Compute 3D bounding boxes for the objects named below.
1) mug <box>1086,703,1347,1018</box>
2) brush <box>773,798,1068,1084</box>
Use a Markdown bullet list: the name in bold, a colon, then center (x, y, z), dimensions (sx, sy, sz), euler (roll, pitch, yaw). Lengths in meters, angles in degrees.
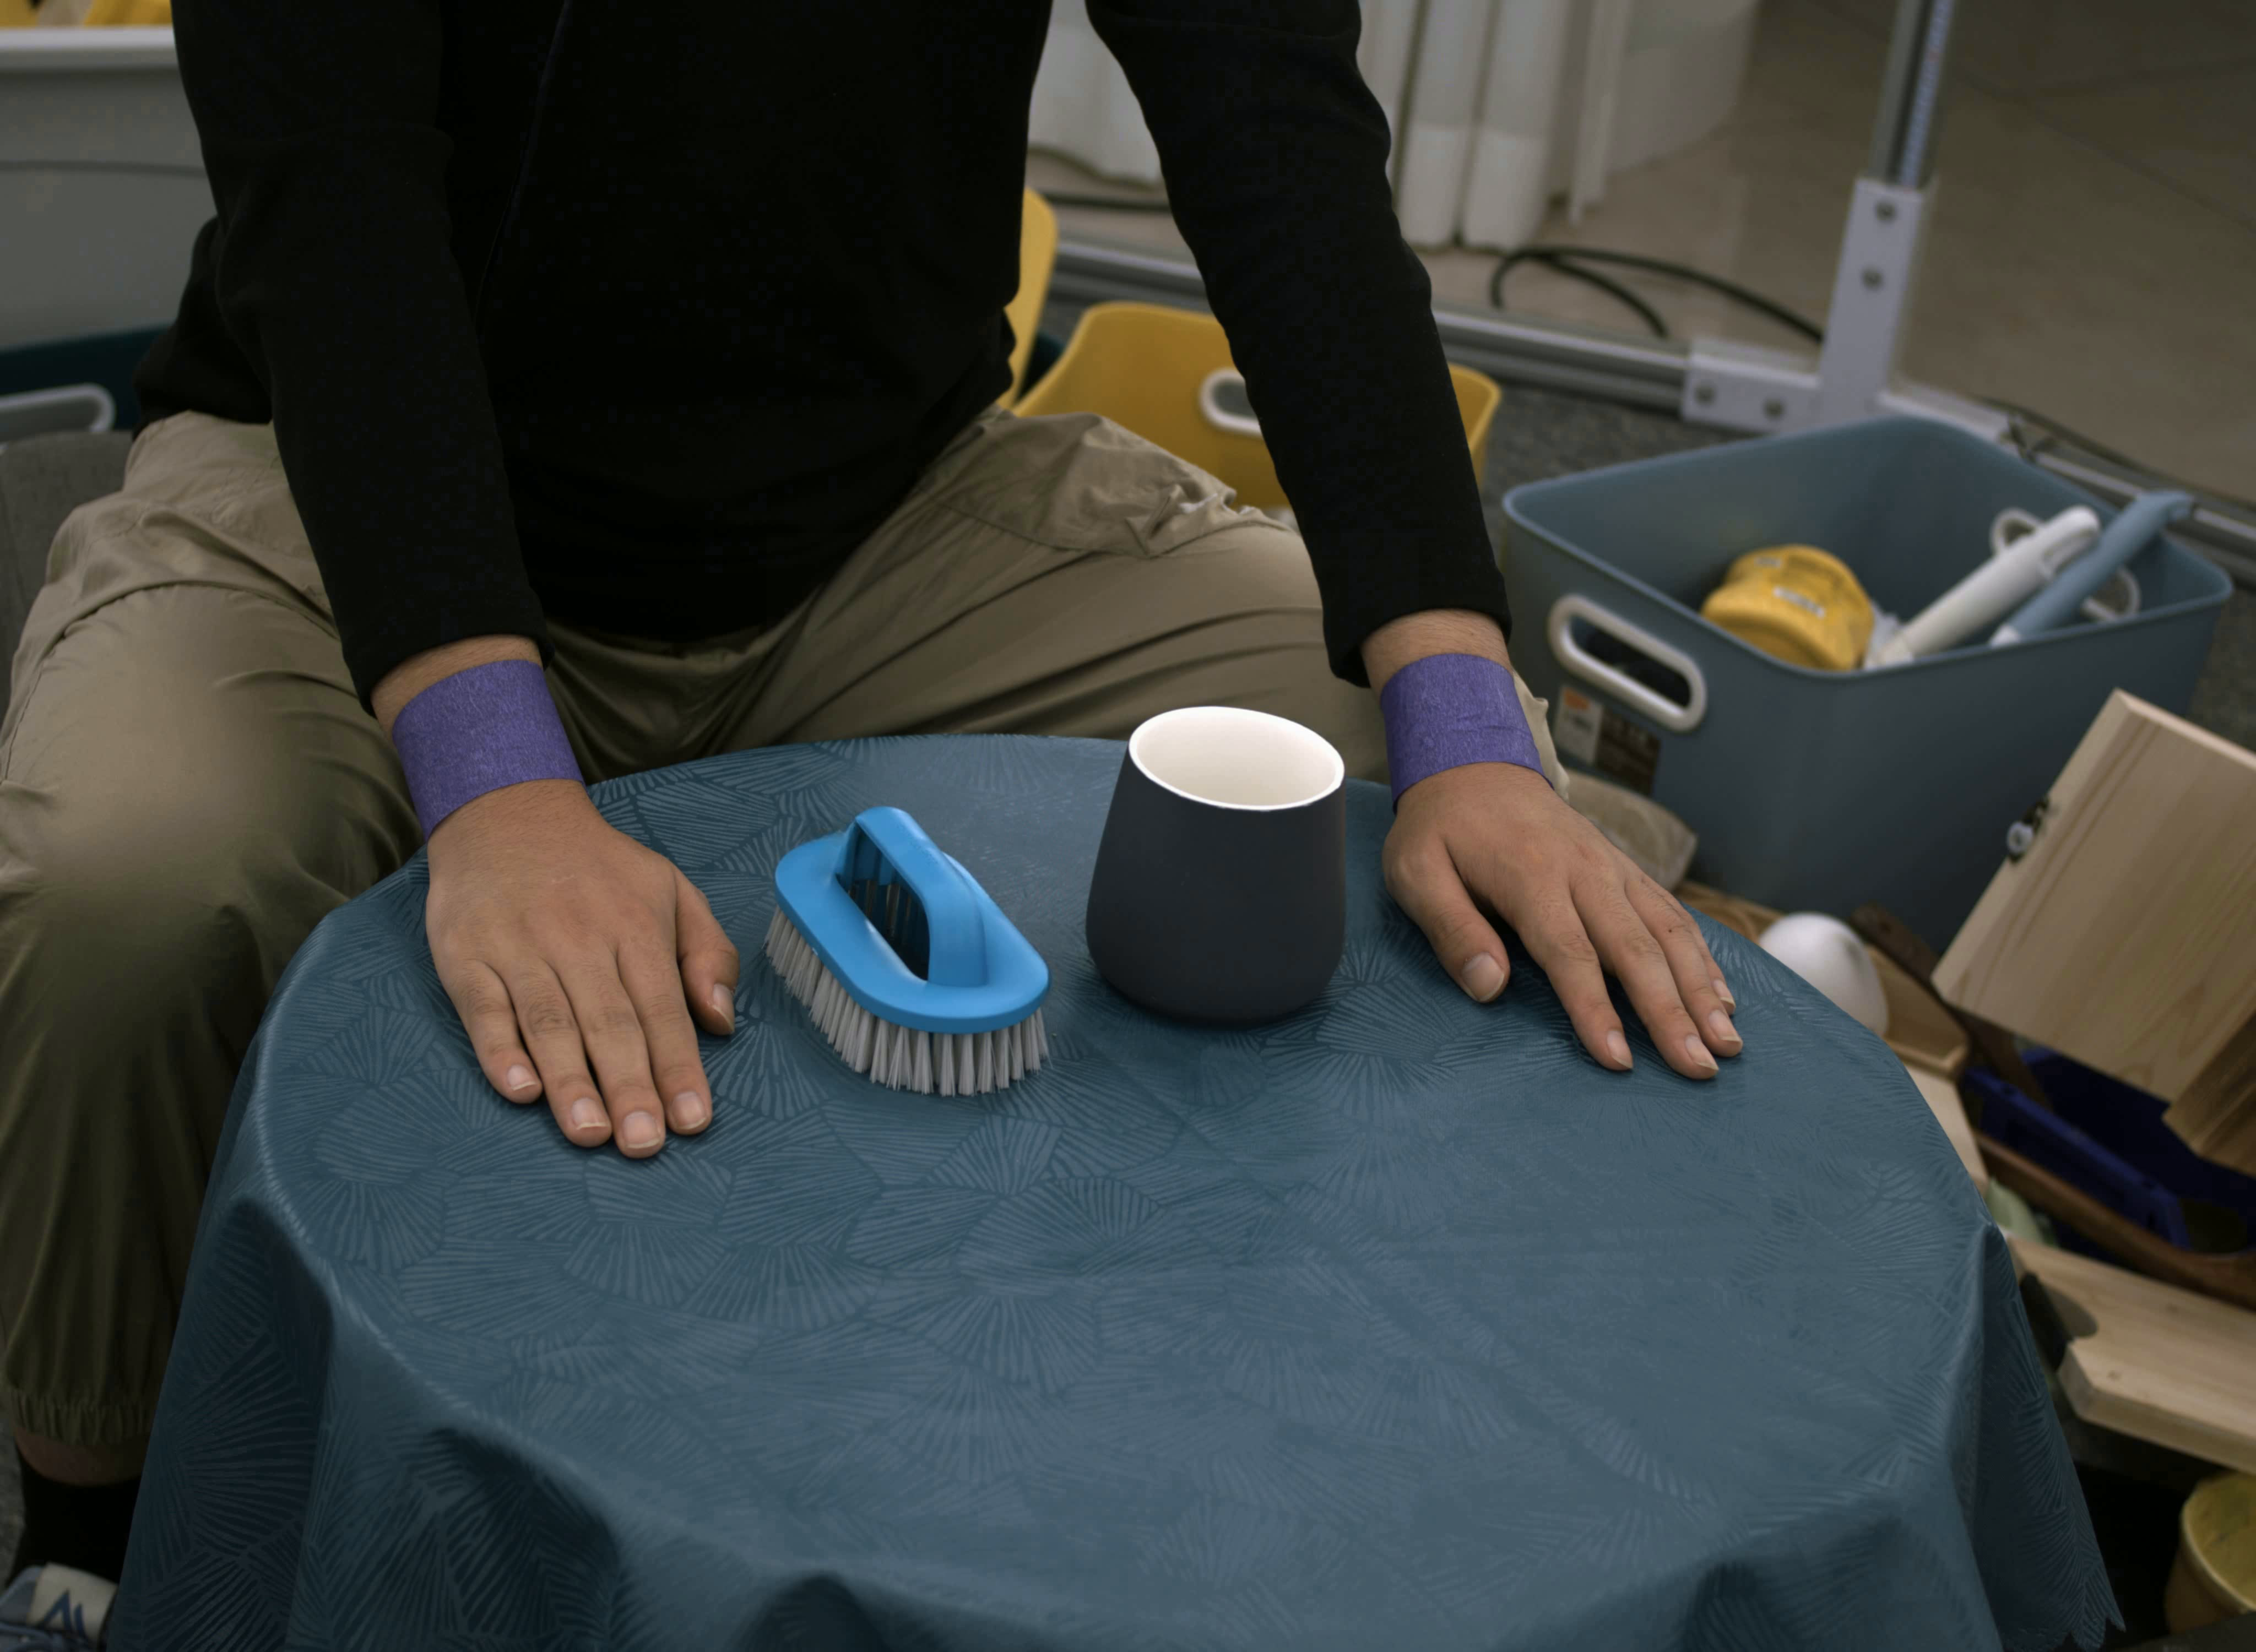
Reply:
- **mug**: center (0.030, 0.006, 1.935), dimensions (0.093, 0.089, 0.124), euler (-2, 30, -19)
- **brush**: center (-0.076, 0.032, 1.891), dimensions (0.084, 0.063, 0.143), euler (-10, 30, -21)
